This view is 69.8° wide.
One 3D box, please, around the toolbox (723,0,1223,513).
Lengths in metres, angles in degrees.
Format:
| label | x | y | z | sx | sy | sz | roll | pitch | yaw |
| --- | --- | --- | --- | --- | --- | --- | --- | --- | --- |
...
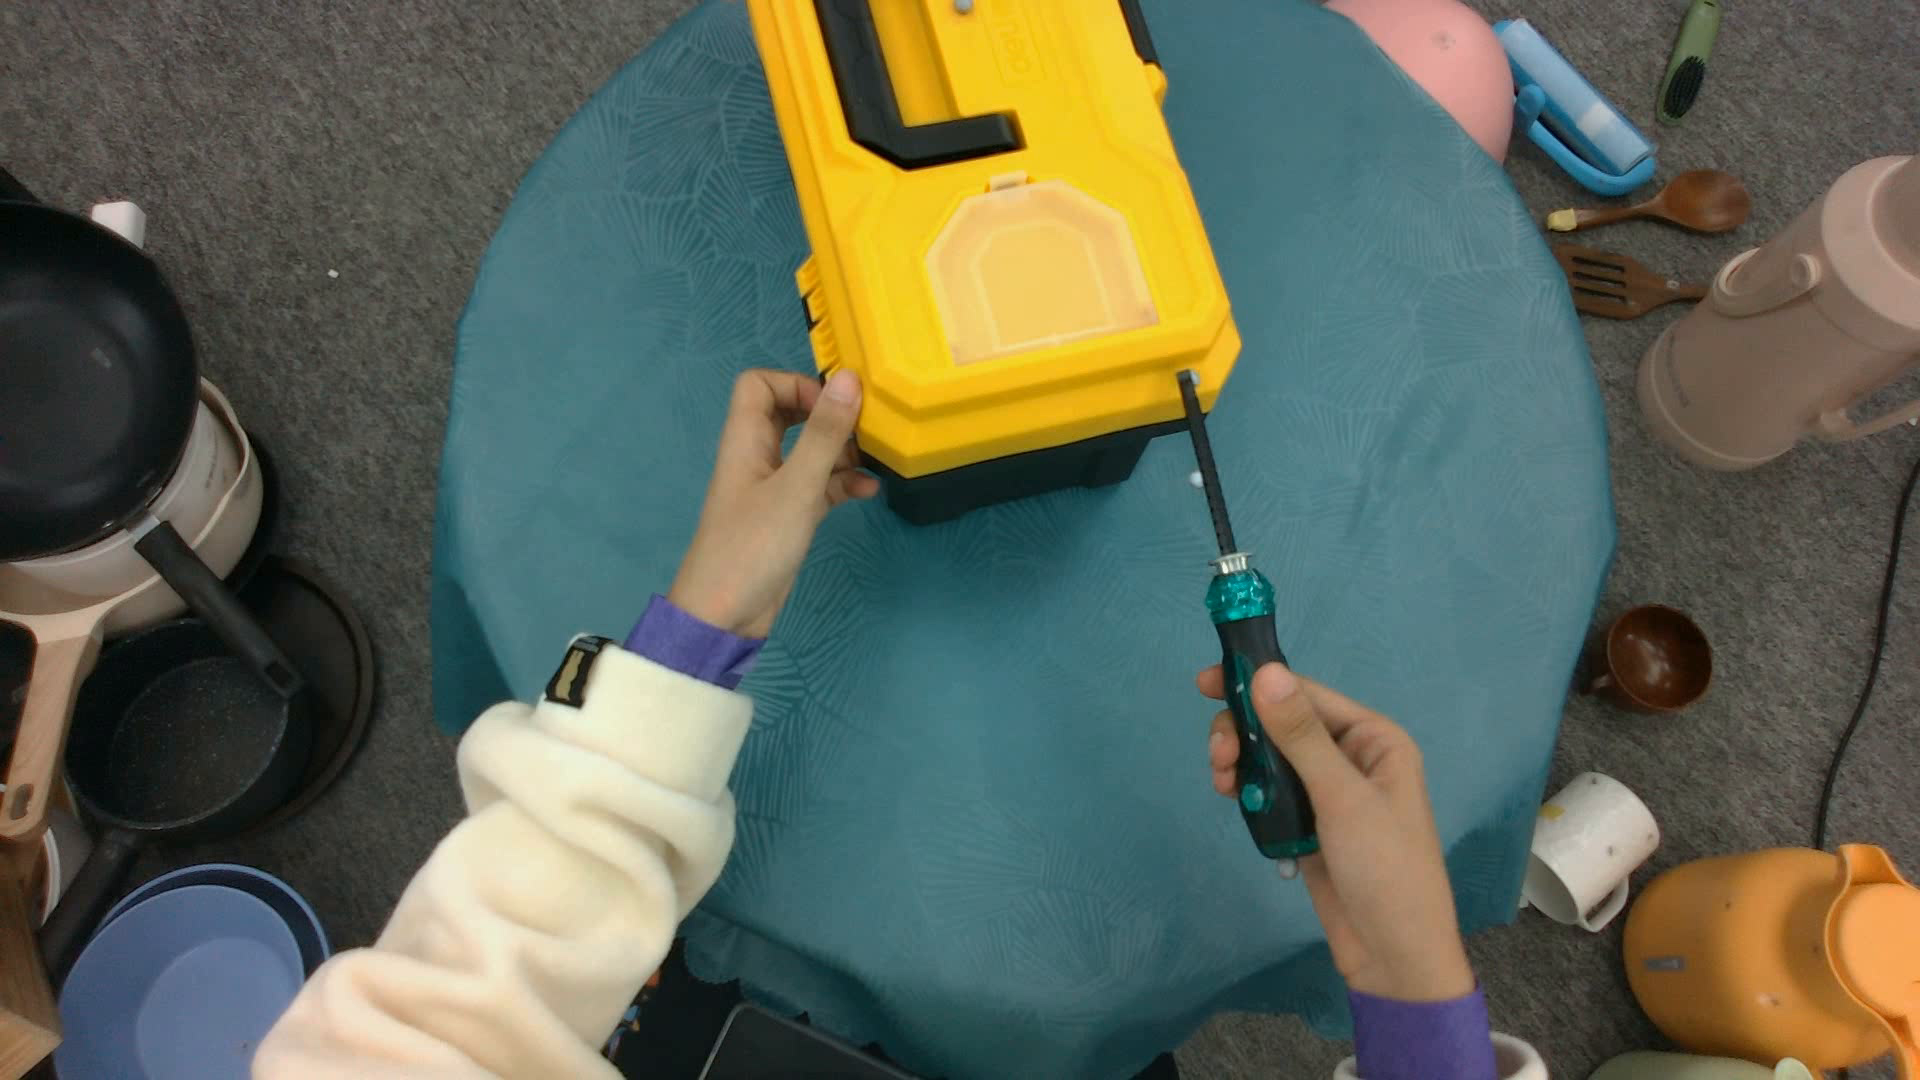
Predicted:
| label | x | y | z | sx | sy | sz | roll | pitch | yaw |
| --- | --- | --- | --- | --- | --- | --- | --- | --- | --- |
| toolbox | -0.014 | -0.196 | 0.660 | 0.181 | 0.172 | 0.352 | -13 | 73 | -8 |

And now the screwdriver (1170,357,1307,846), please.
| label | x | y | z | sx | sy | sz | roll | pitch | yaw |
| --- | --- | --- | --- | --- | --- | --- | --- | --- | --- |
| screwdriver | 0.102 | 0.021 | 0.531 | 0.034 | 0.033 | 0.190 | -10 | 85 | -7 |
